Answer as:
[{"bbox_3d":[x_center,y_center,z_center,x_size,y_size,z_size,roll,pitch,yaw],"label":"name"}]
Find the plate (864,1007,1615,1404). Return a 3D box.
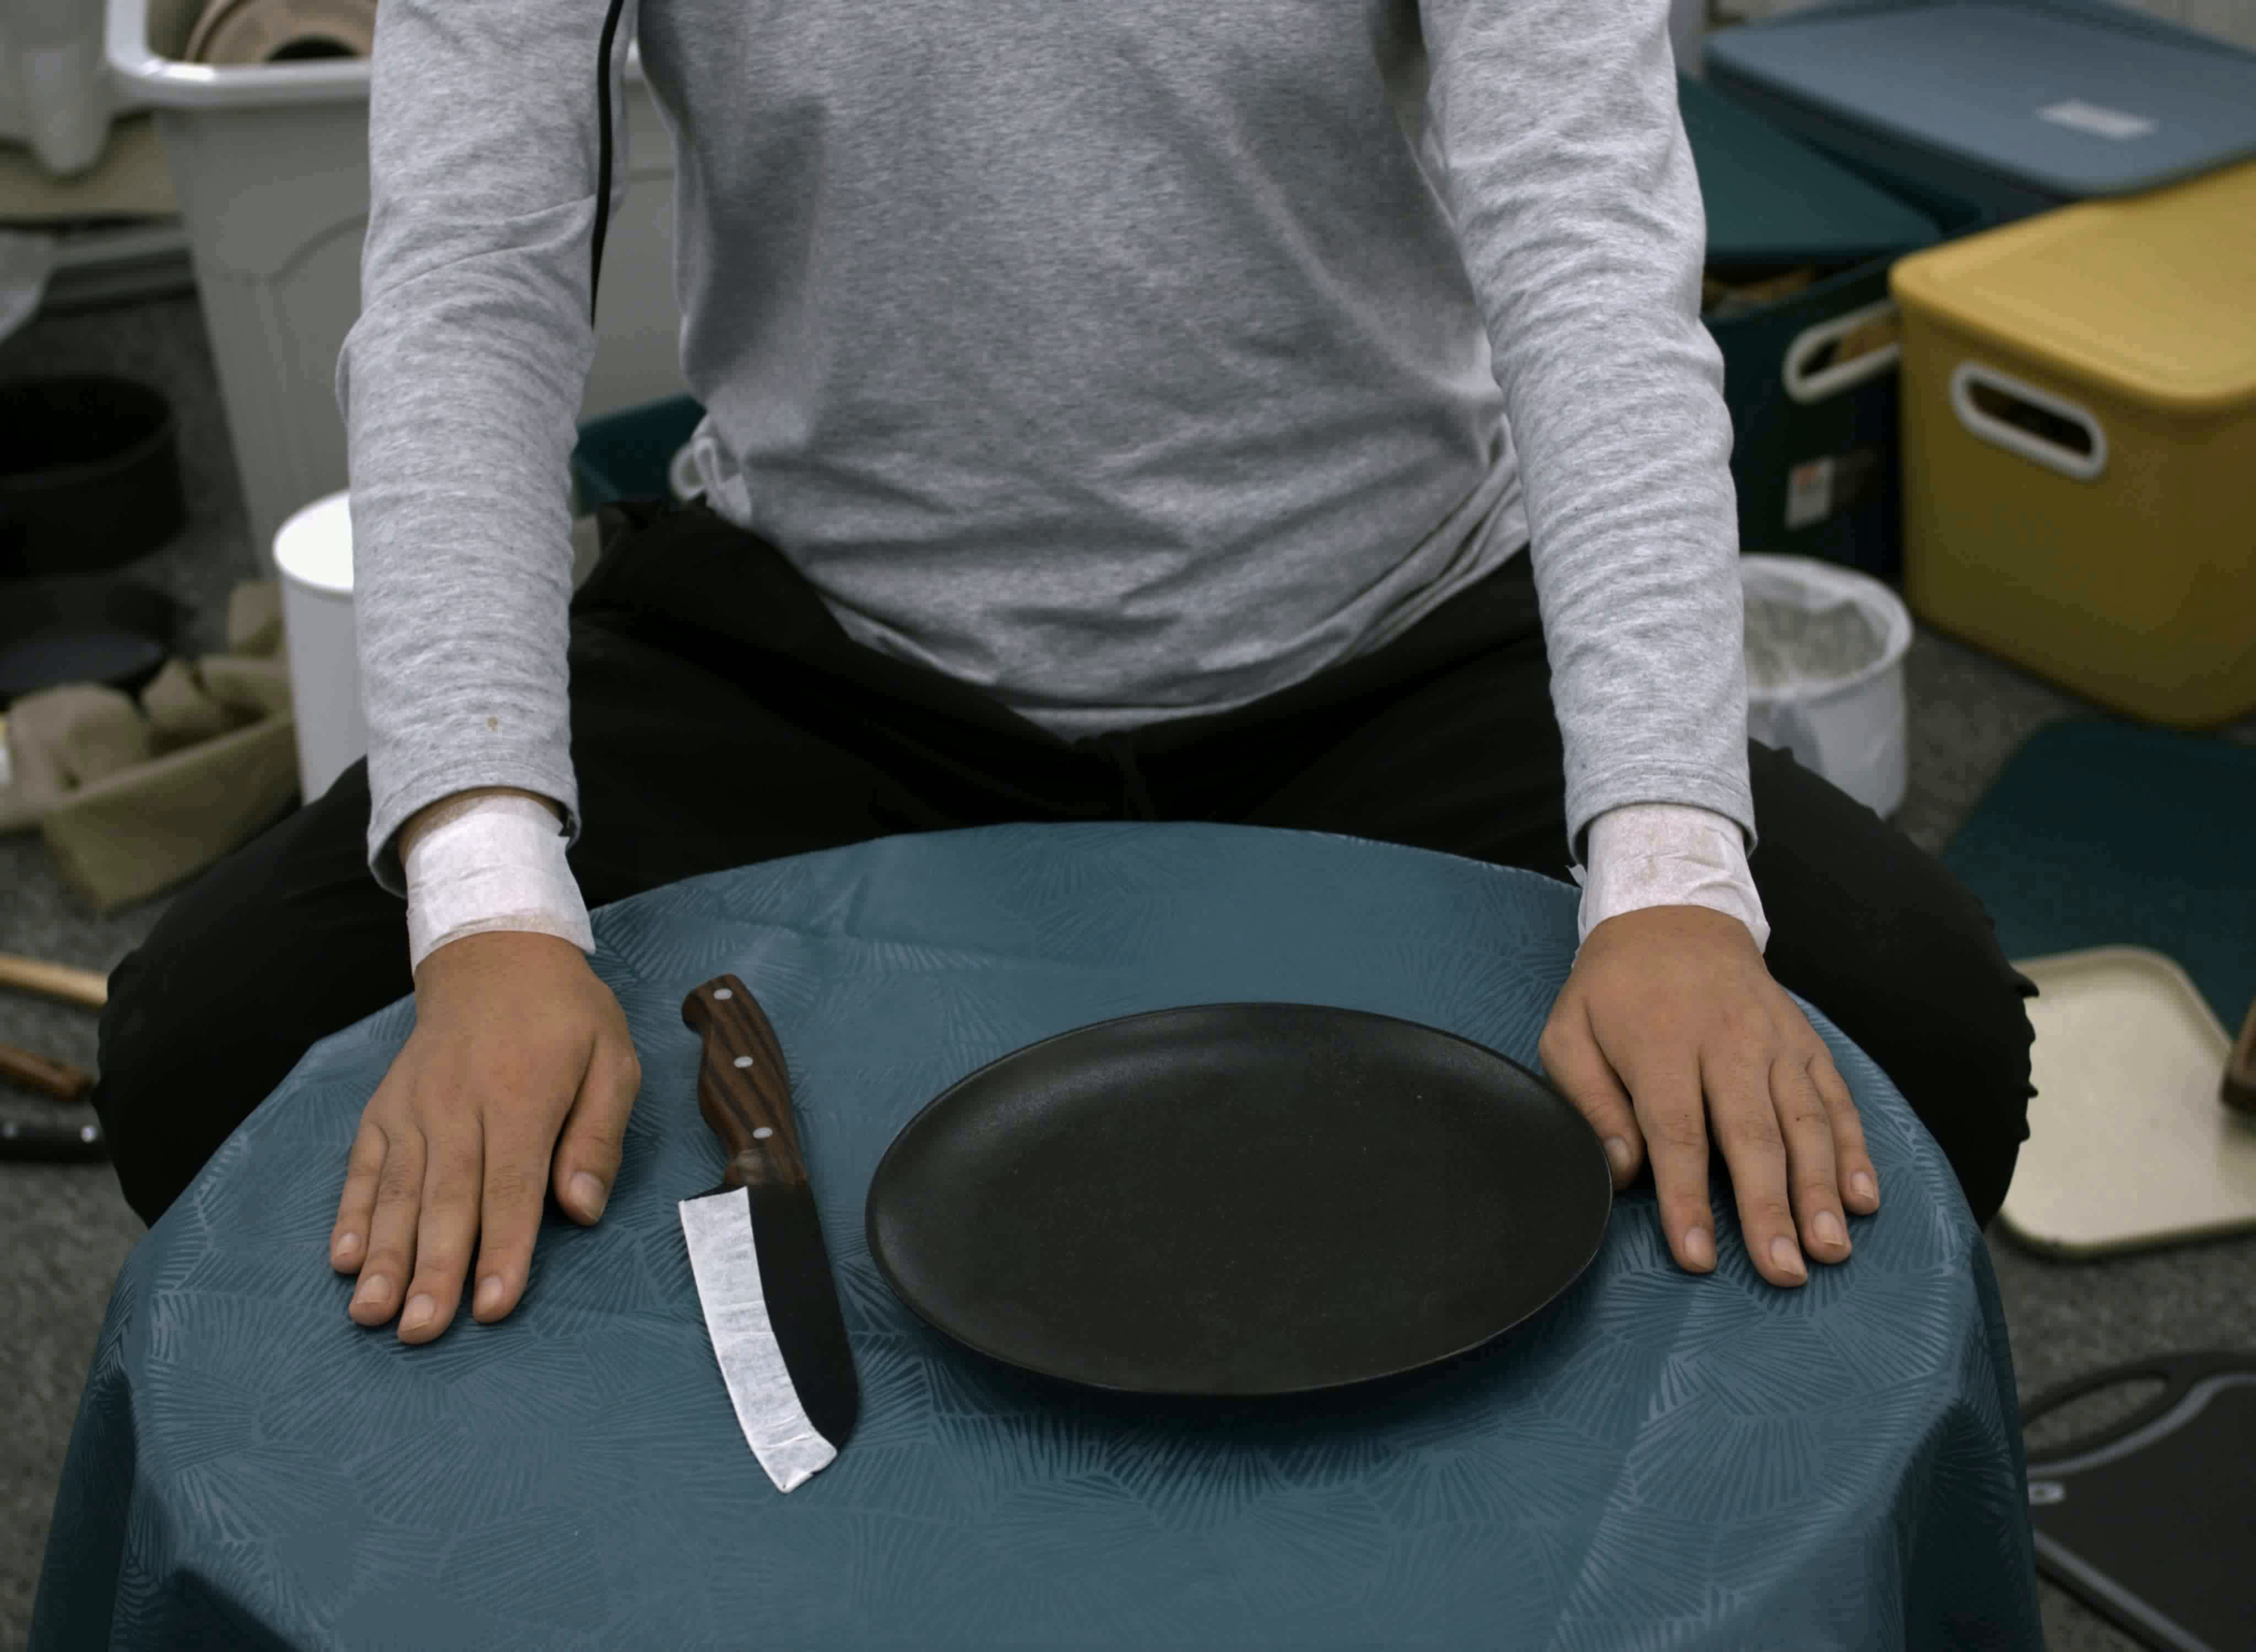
[{"bbox_3d":[0.036,0.127,1.823,0.243,0.023,0.248,-2,27,1],"label":"plate"}]

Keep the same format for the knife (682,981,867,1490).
[{"bbox_3d":[-0.121,0.132,1.837,0.050,0.020,0.293,-10,30,-4],"label":"knife"}]
